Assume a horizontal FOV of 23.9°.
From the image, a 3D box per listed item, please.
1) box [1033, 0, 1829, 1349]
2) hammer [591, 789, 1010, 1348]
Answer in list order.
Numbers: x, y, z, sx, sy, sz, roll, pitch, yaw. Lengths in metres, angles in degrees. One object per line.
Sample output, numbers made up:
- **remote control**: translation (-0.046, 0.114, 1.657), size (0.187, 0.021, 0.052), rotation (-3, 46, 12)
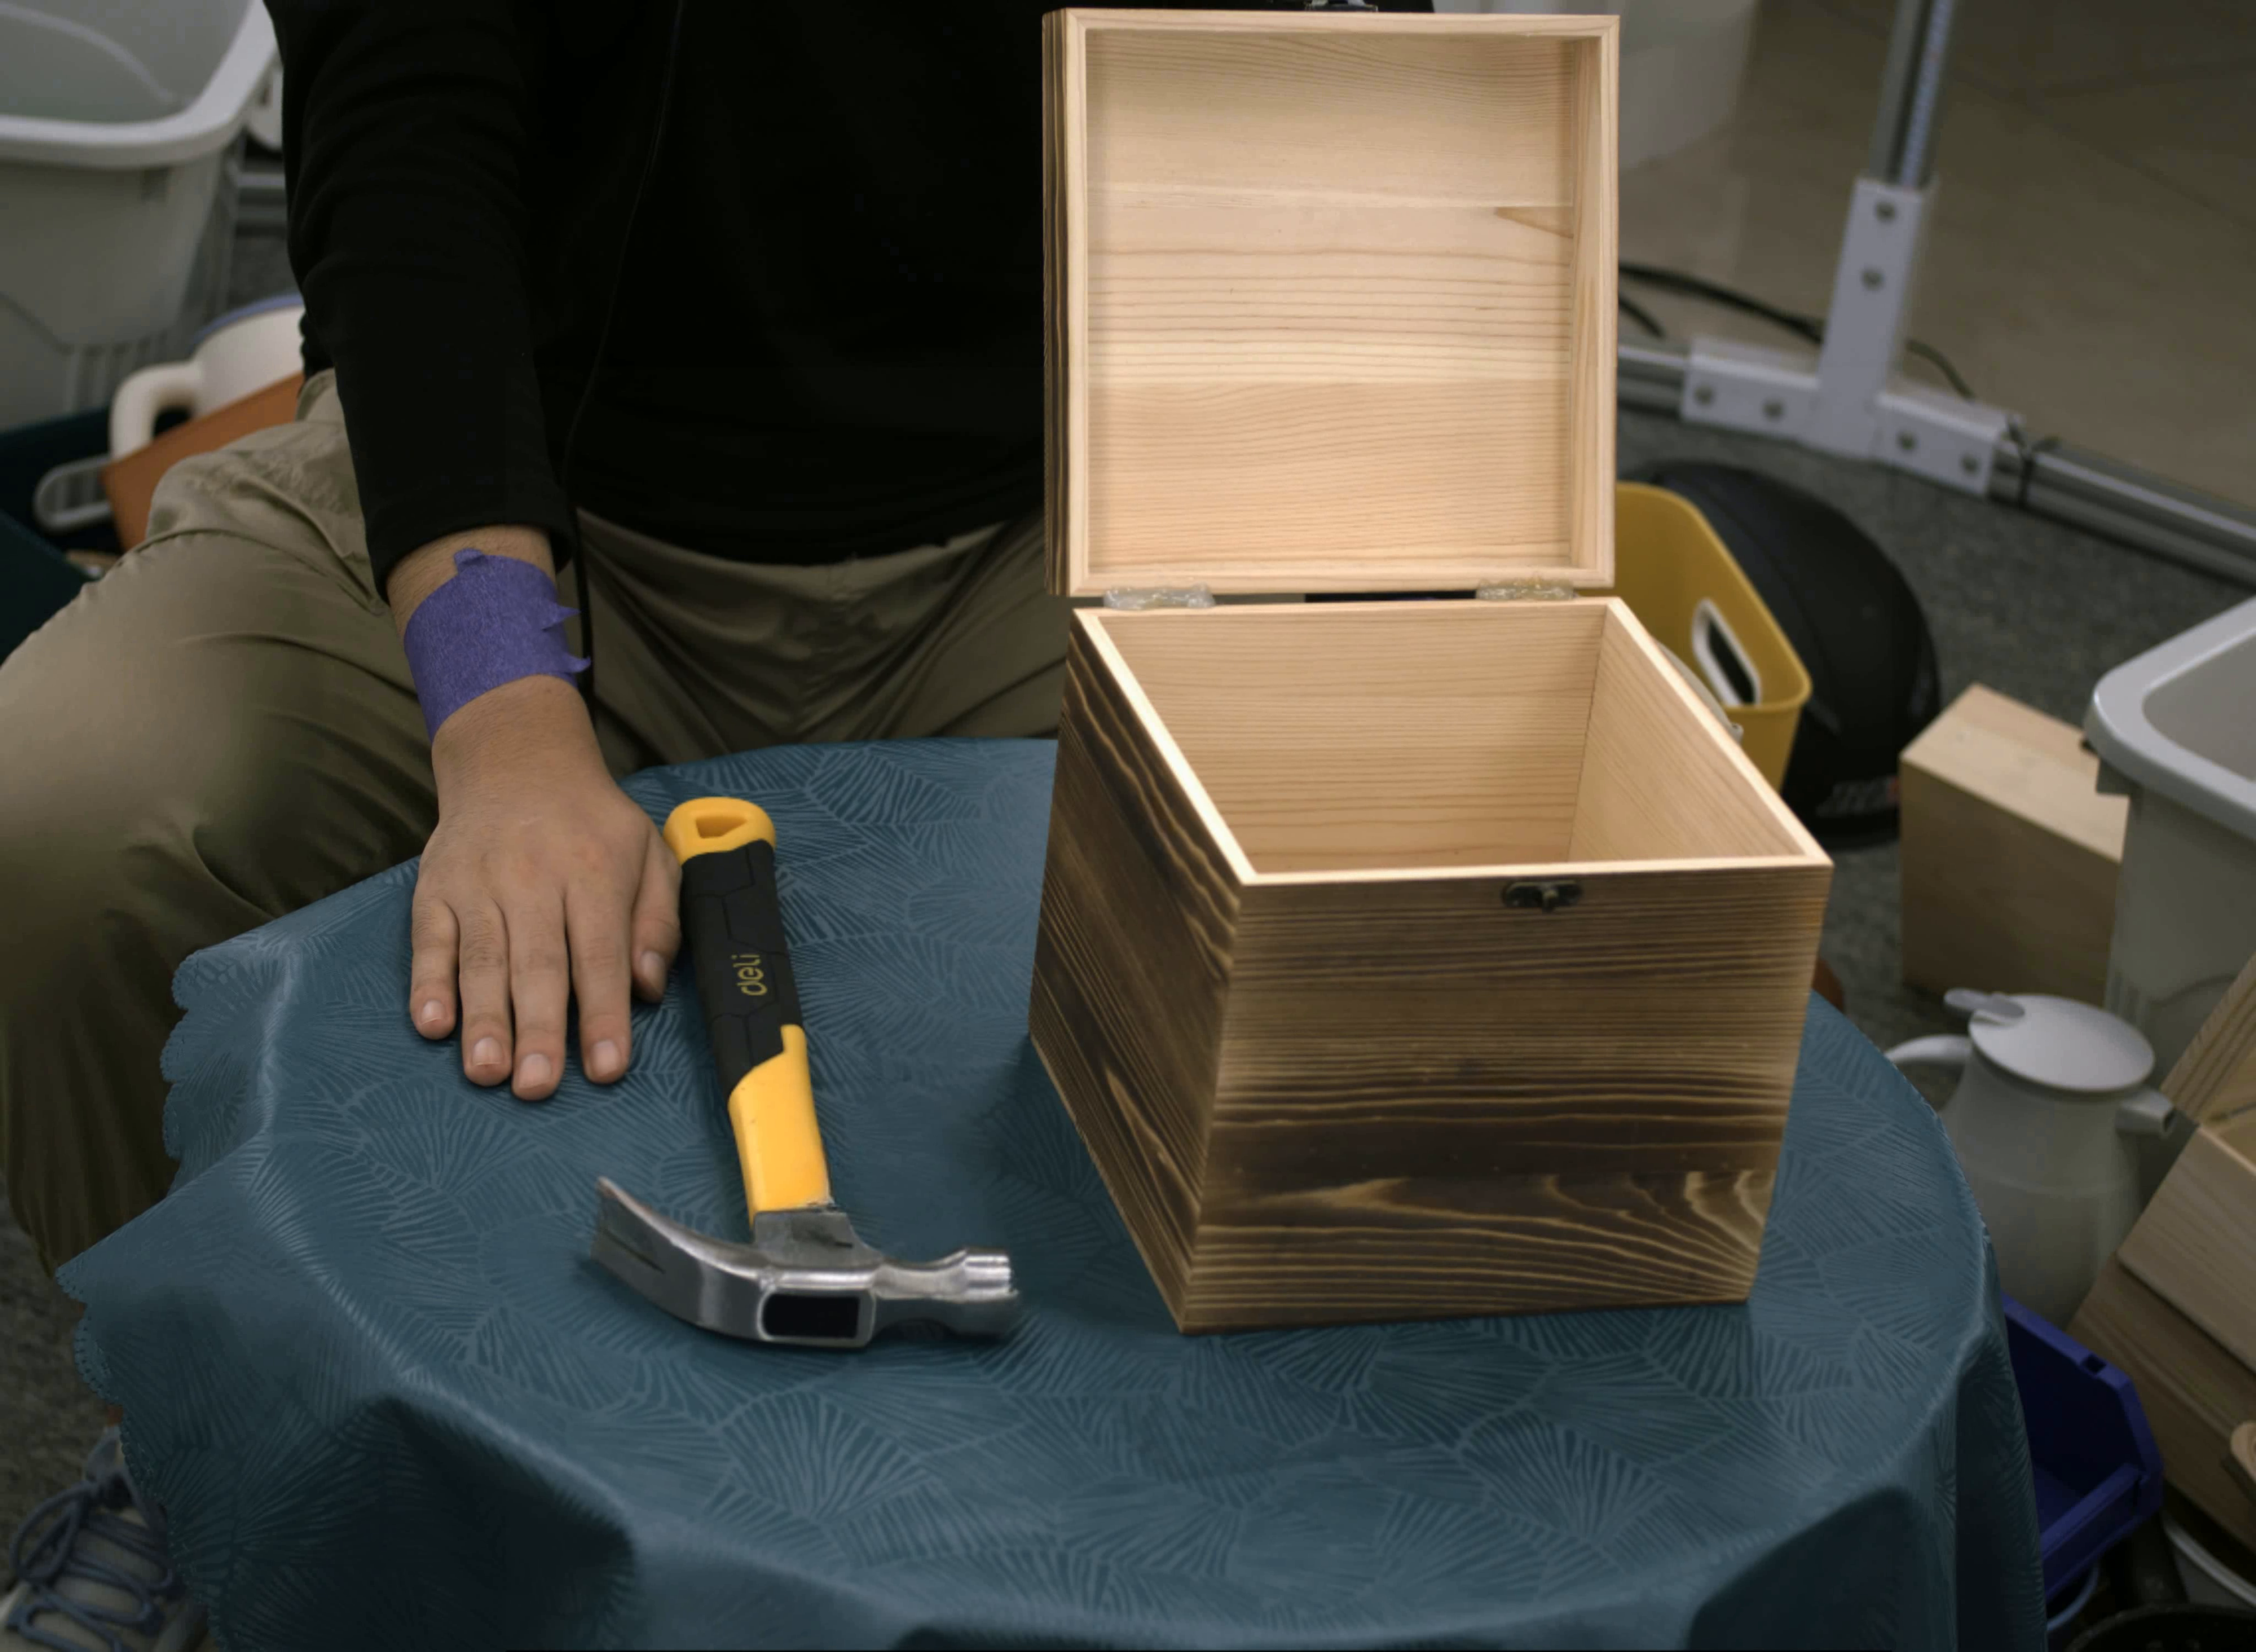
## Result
- **box**: translation (0.089, -0.066, 1.801), size (0.207, 0.374, 0.325), rotation (-2, 28, -16)
- **hammer**: translation (-0.126, 0.075, 1.834), size (0.131, 0.032, 0.341), rotation (2, 28, -10)
